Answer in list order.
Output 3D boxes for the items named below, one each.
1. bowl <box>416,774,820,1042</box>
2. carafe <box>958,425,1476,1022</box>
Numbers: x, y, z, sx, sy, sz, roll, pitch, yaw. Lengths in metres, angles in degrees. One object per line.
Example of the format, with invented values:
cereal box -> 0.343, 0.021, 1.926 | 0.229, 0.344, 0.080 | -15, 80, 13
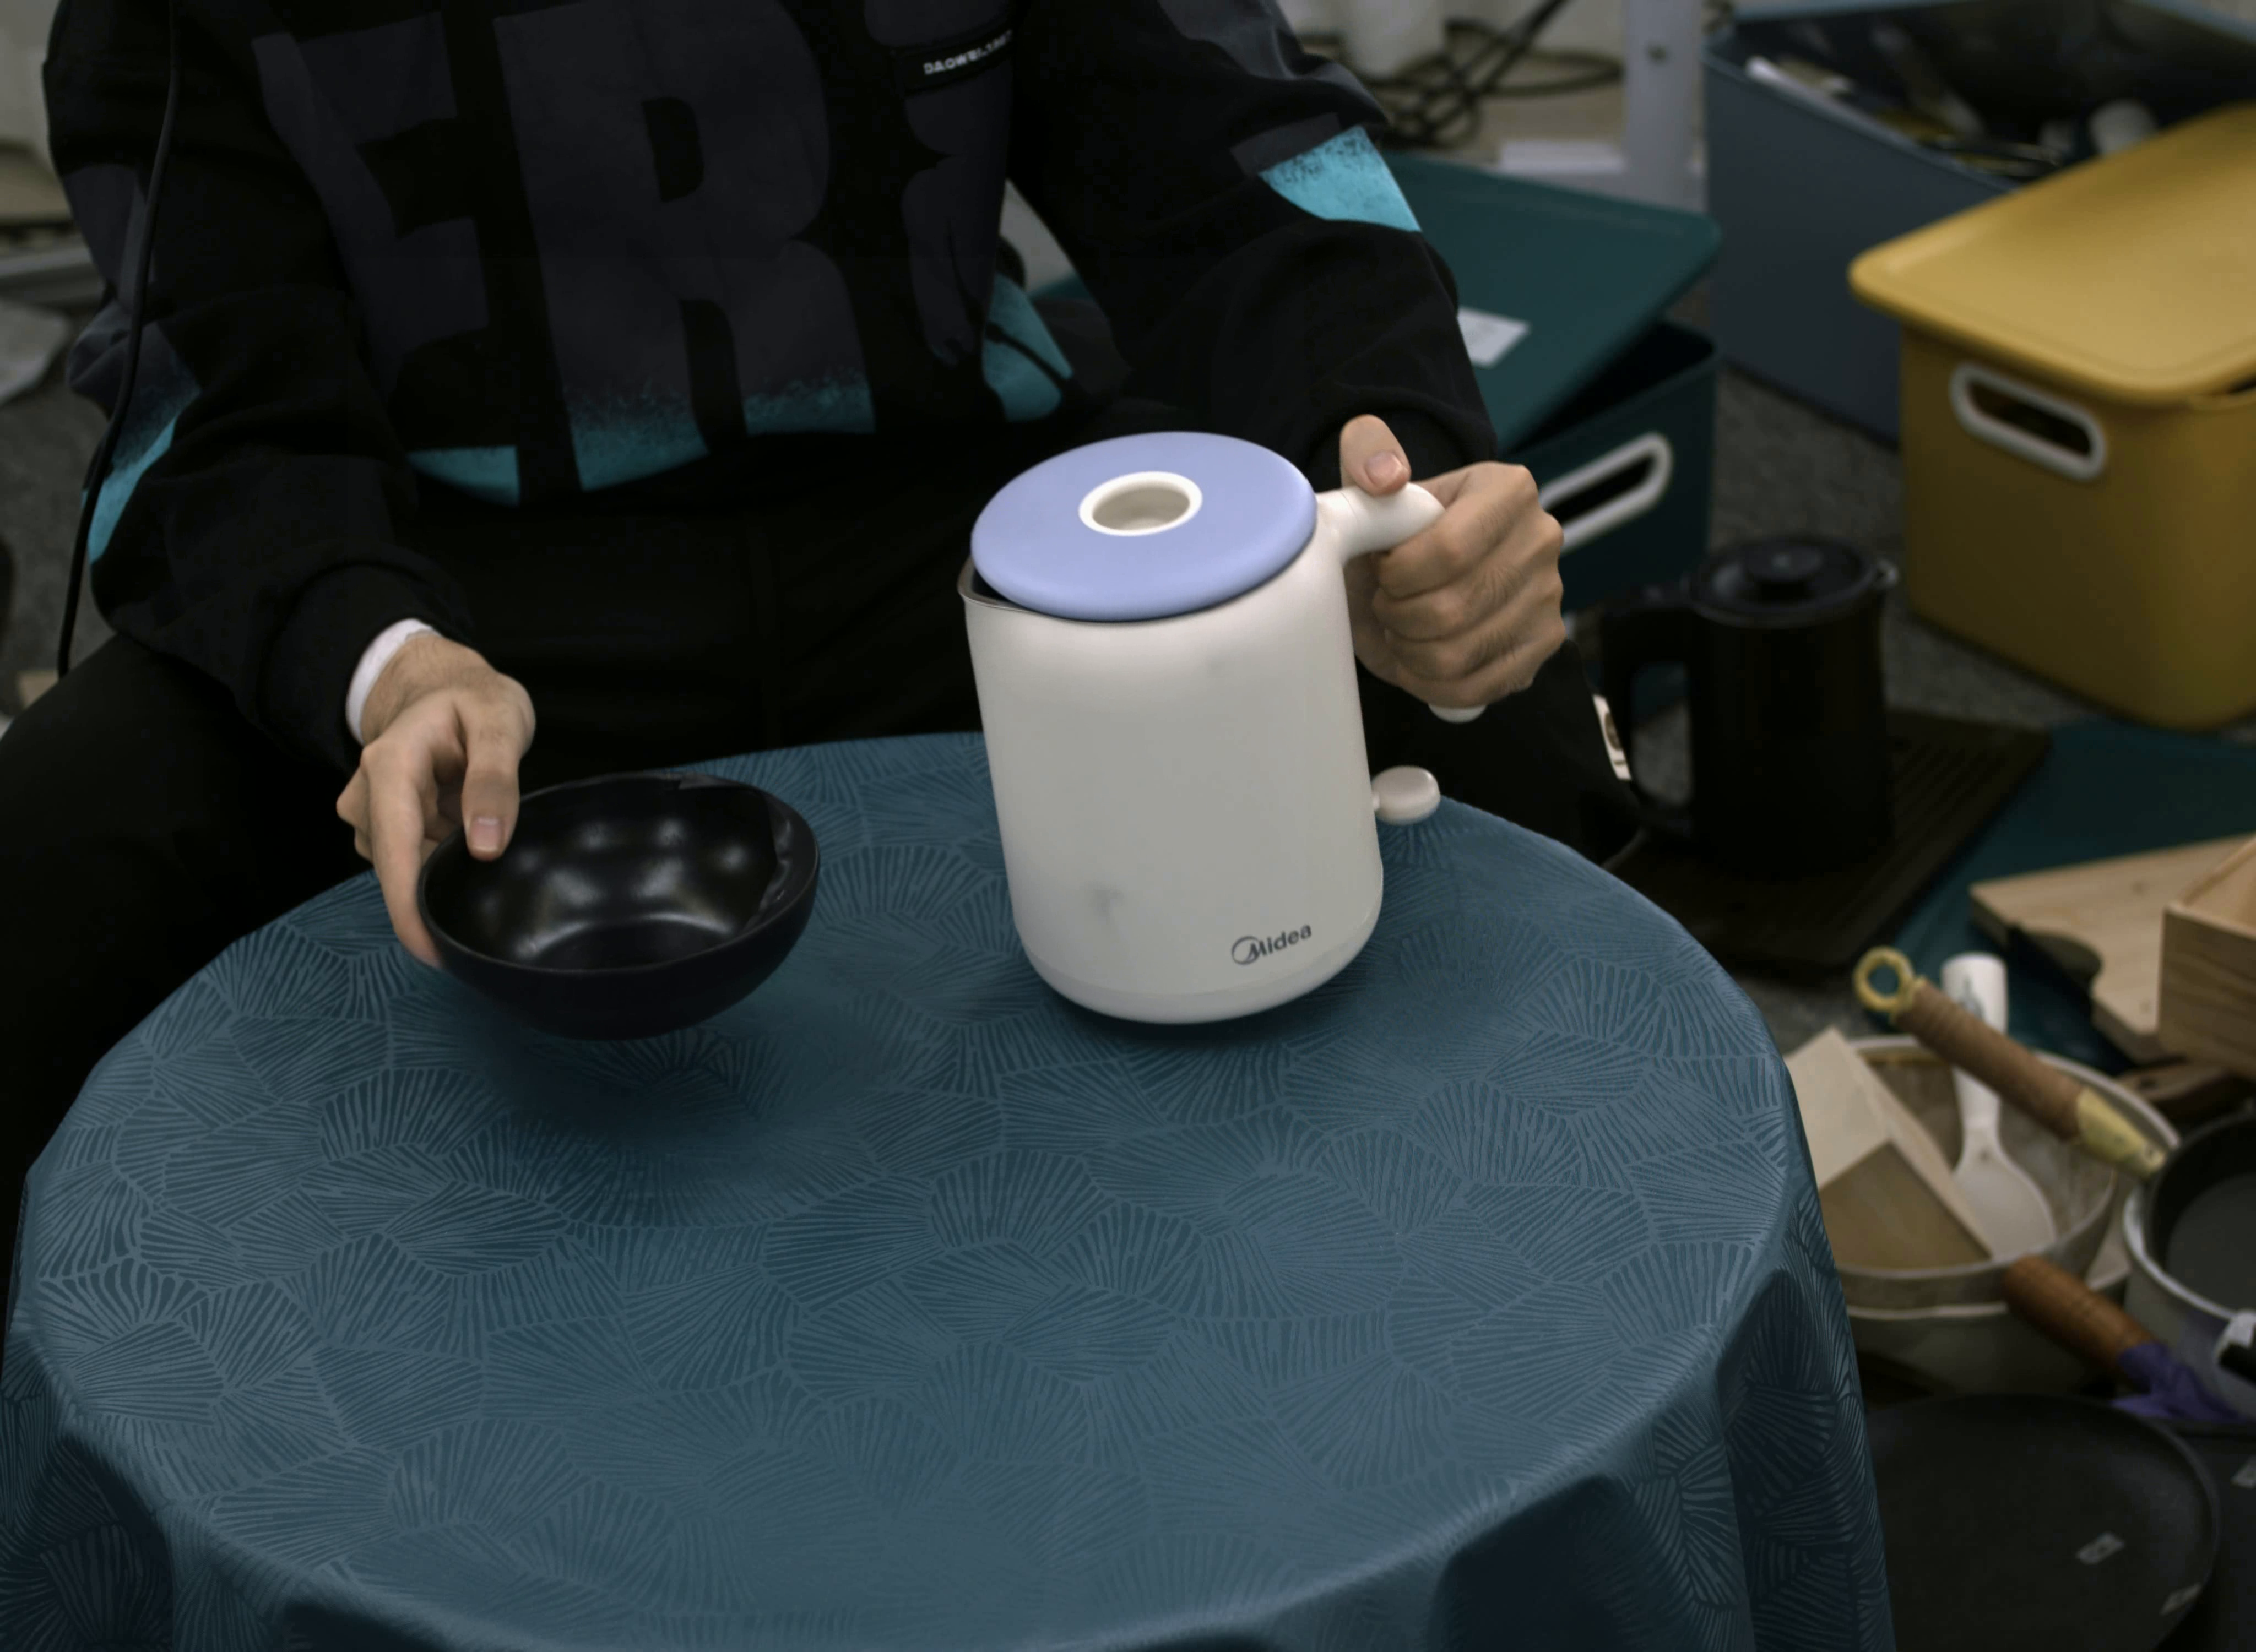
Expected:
bowl -> -0.171, 0.036, 1.924 | 0.139, 0.049, 0.142 | -4, 26, 2
carafe -> 0.036, -0.043, 1.953 | 0.192, 0.180, 0.133 | -18, 34, -20
